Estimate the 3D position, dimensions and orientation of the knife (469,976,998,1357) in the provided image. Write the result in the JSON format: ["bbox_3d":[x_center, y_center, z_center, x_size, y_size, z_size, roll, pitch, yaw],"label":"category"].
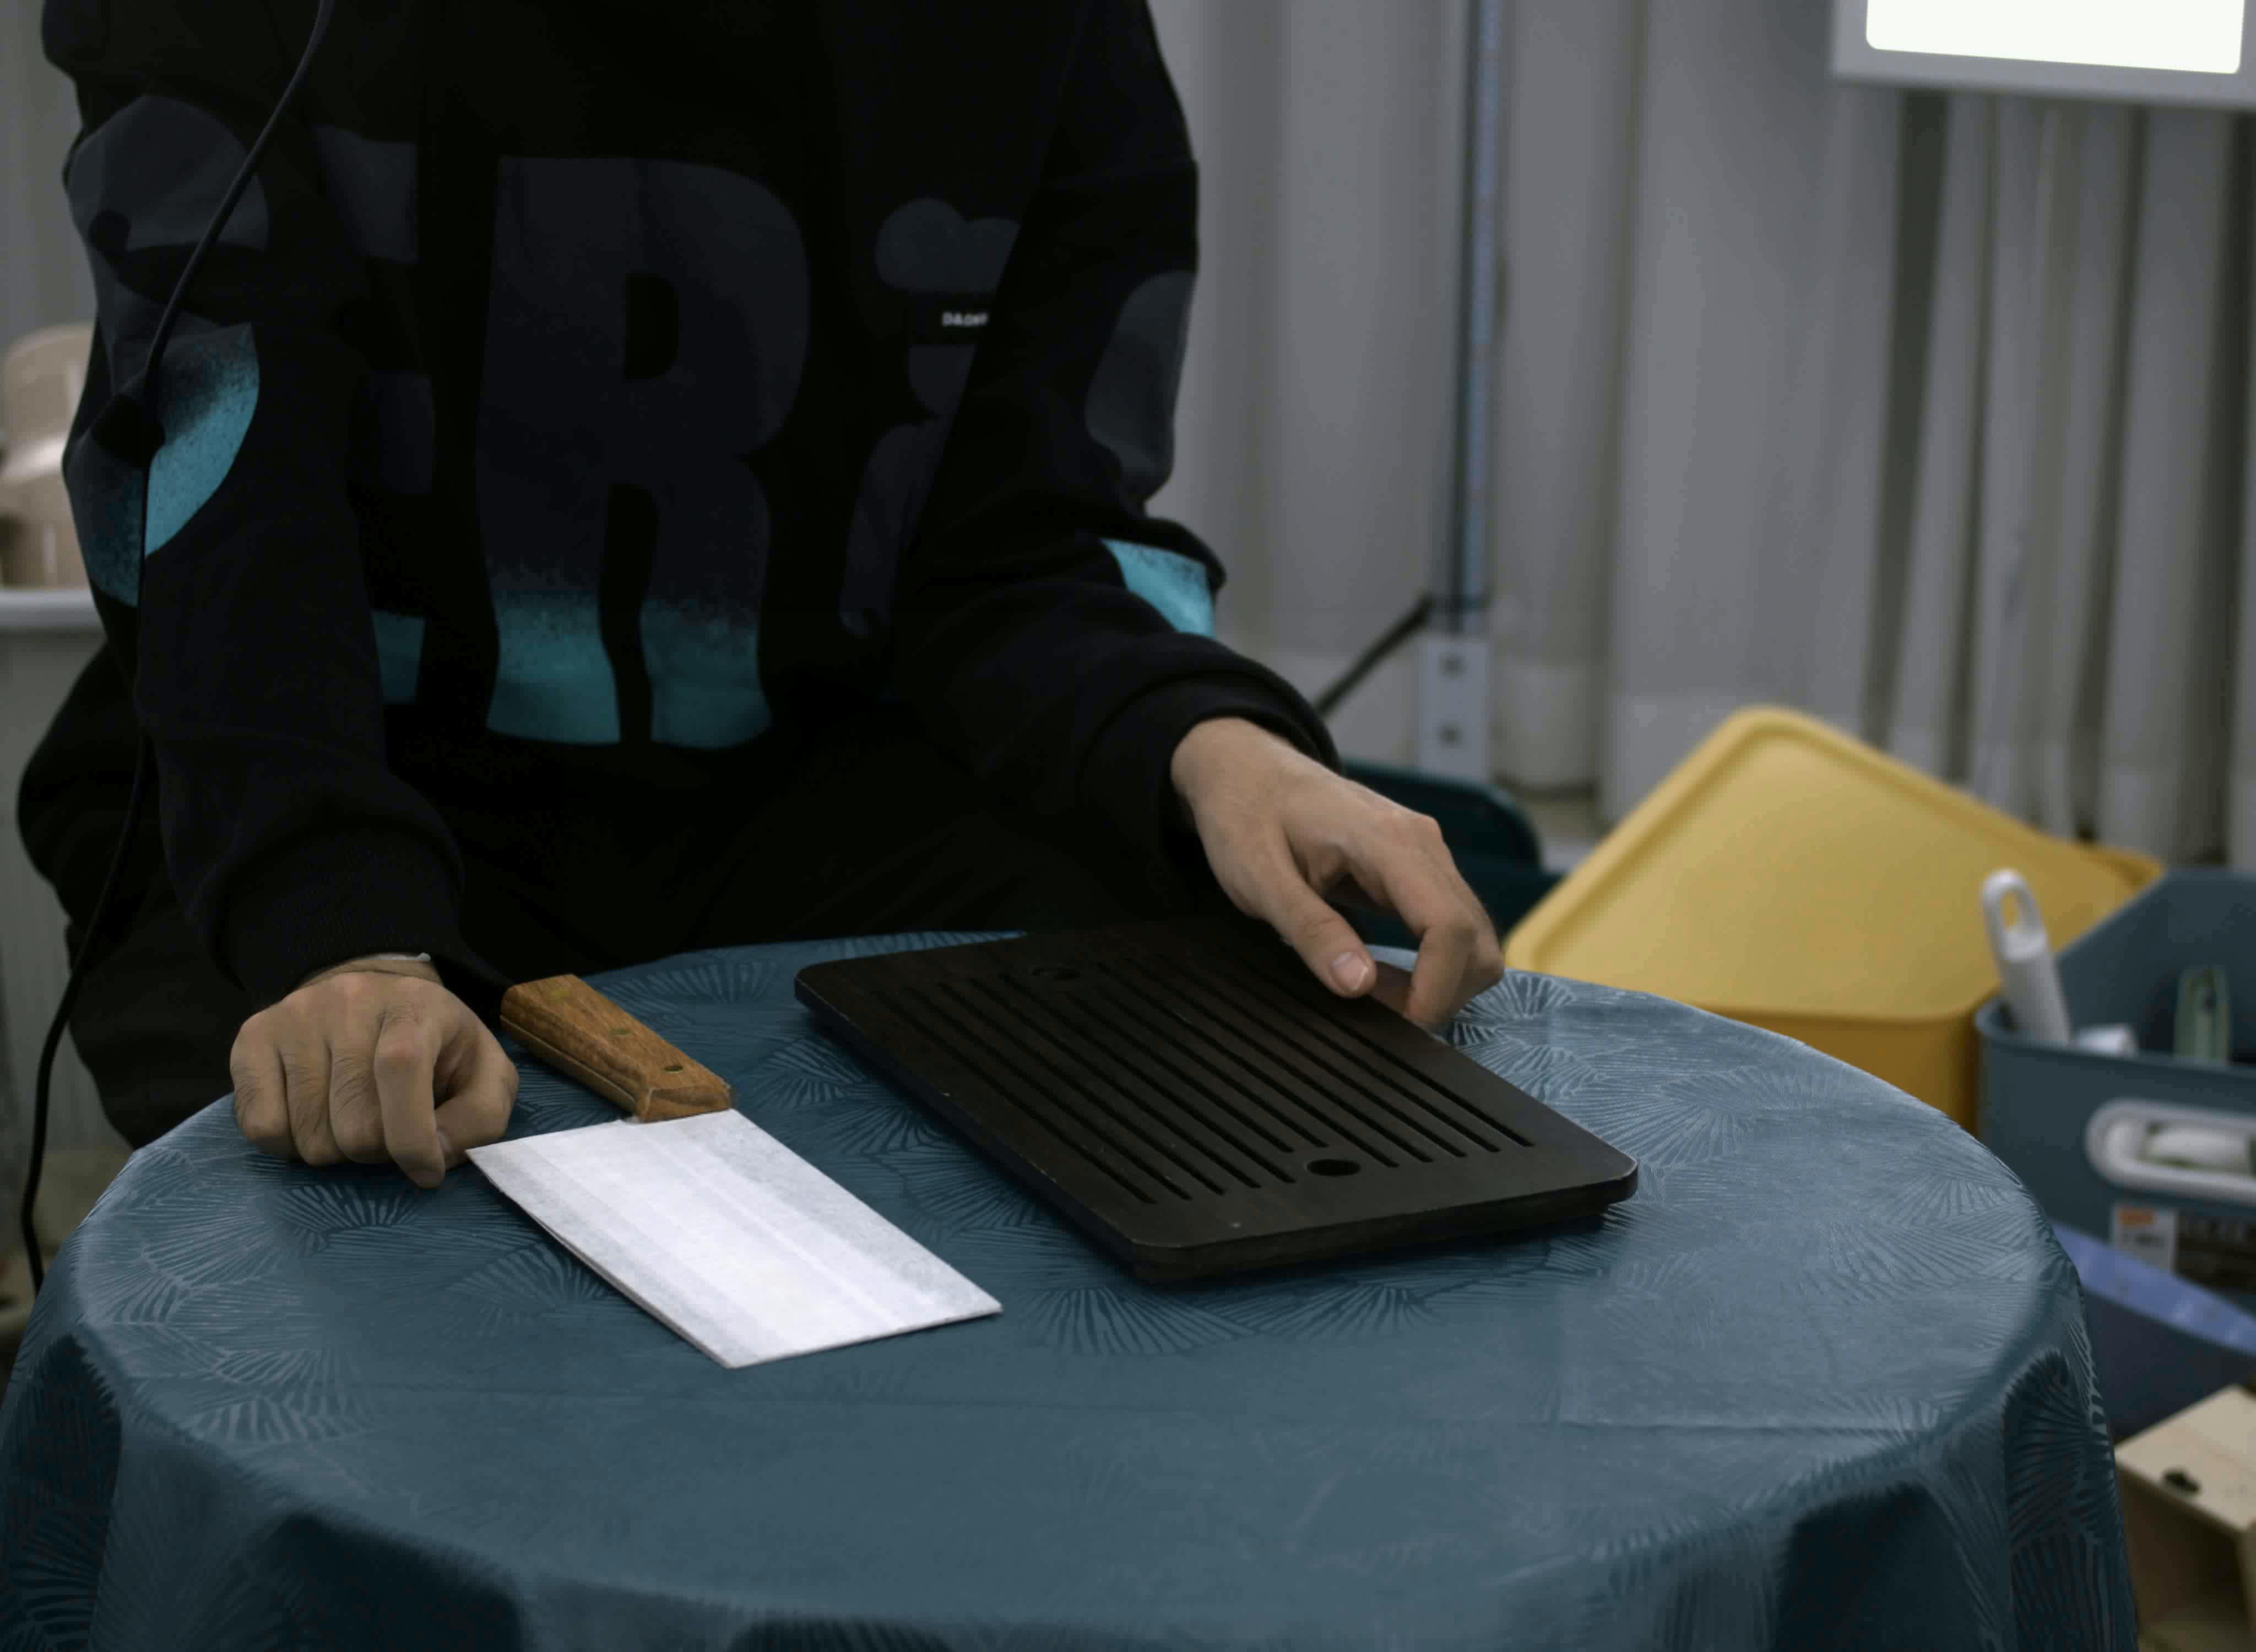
[{"bbox_3d":[-0.147,0.104,1.620,0.093,0.021,0.302,-10,21,-28],"label":"knife"}]

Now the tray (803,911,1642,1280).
[{"bbox_3d":[0.023,0.083,1.694,0.170,0.019,0.302,-7,17,-23],"label":"tray"}]
